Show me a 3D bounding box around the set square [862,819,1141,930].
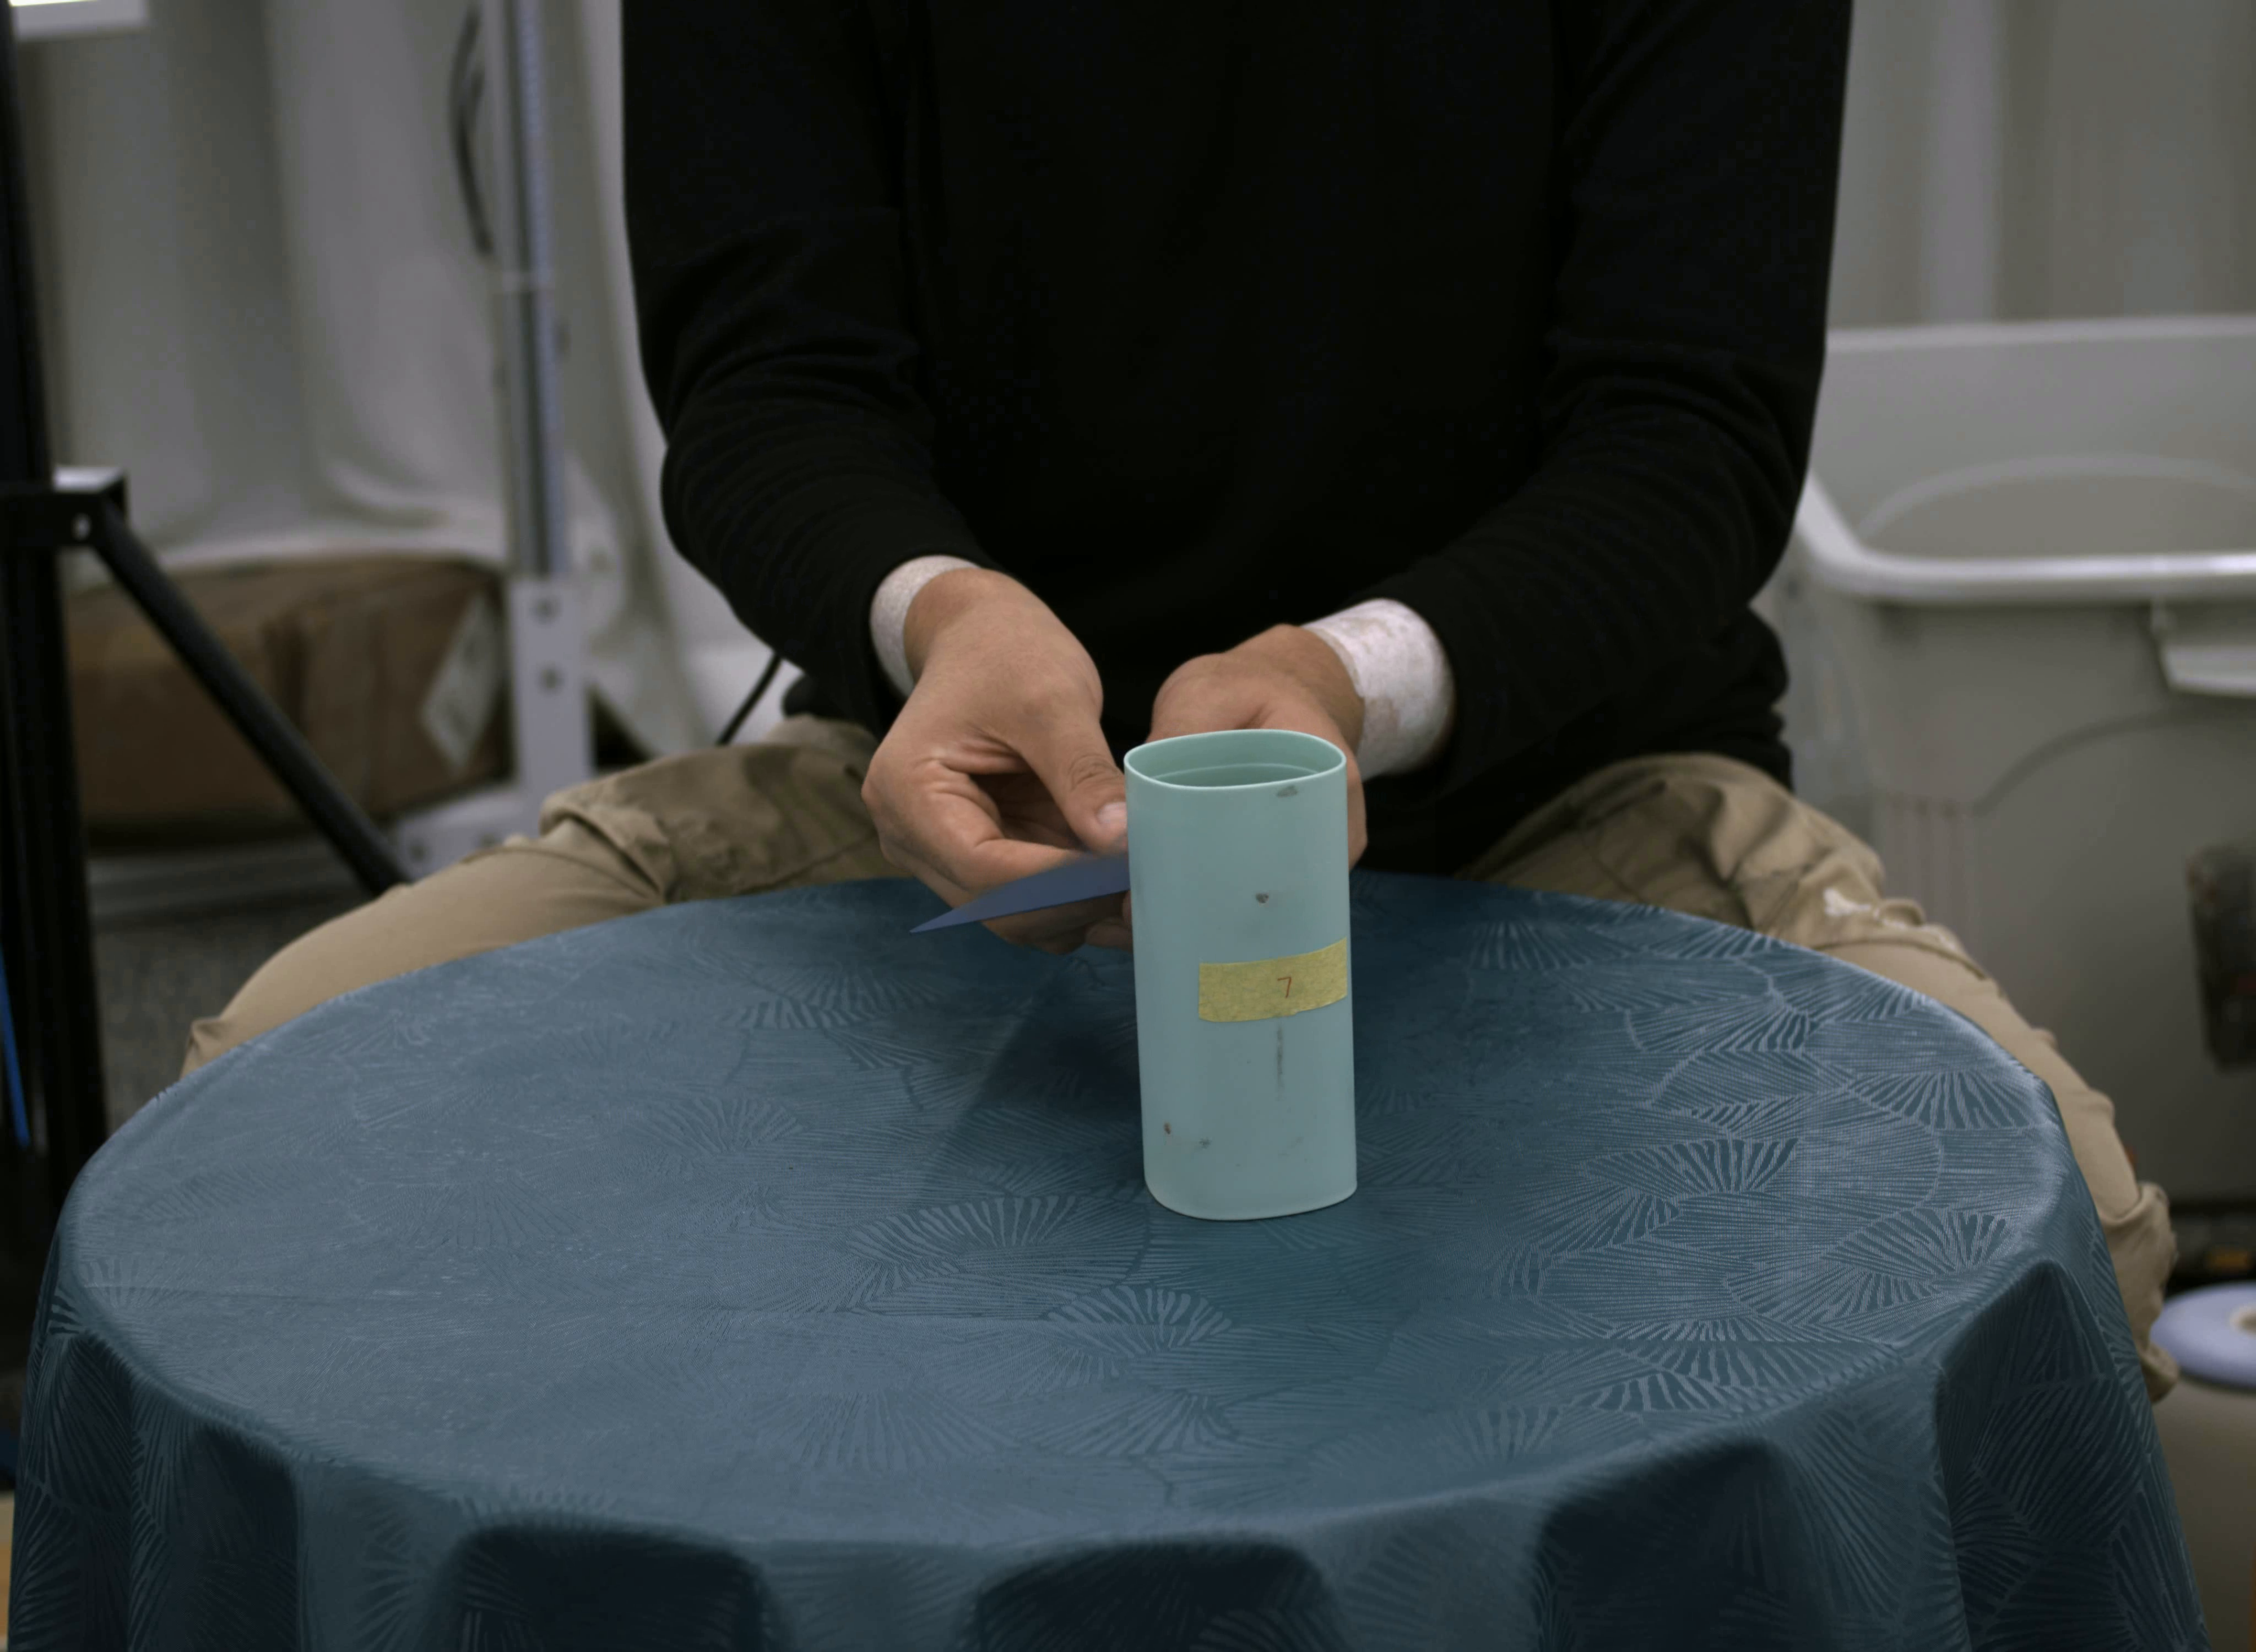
[{"bbox_3d":[-0.021,0.011,1.588,0.130,0.006,0.062,-10,19,-15],"label":"set square"}]

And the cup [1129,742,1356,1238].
[{"bbox_3d":[0.034,0.047,1.543,0.066,0.132,0.067,-3,15,-1],"label":"cup"}]
